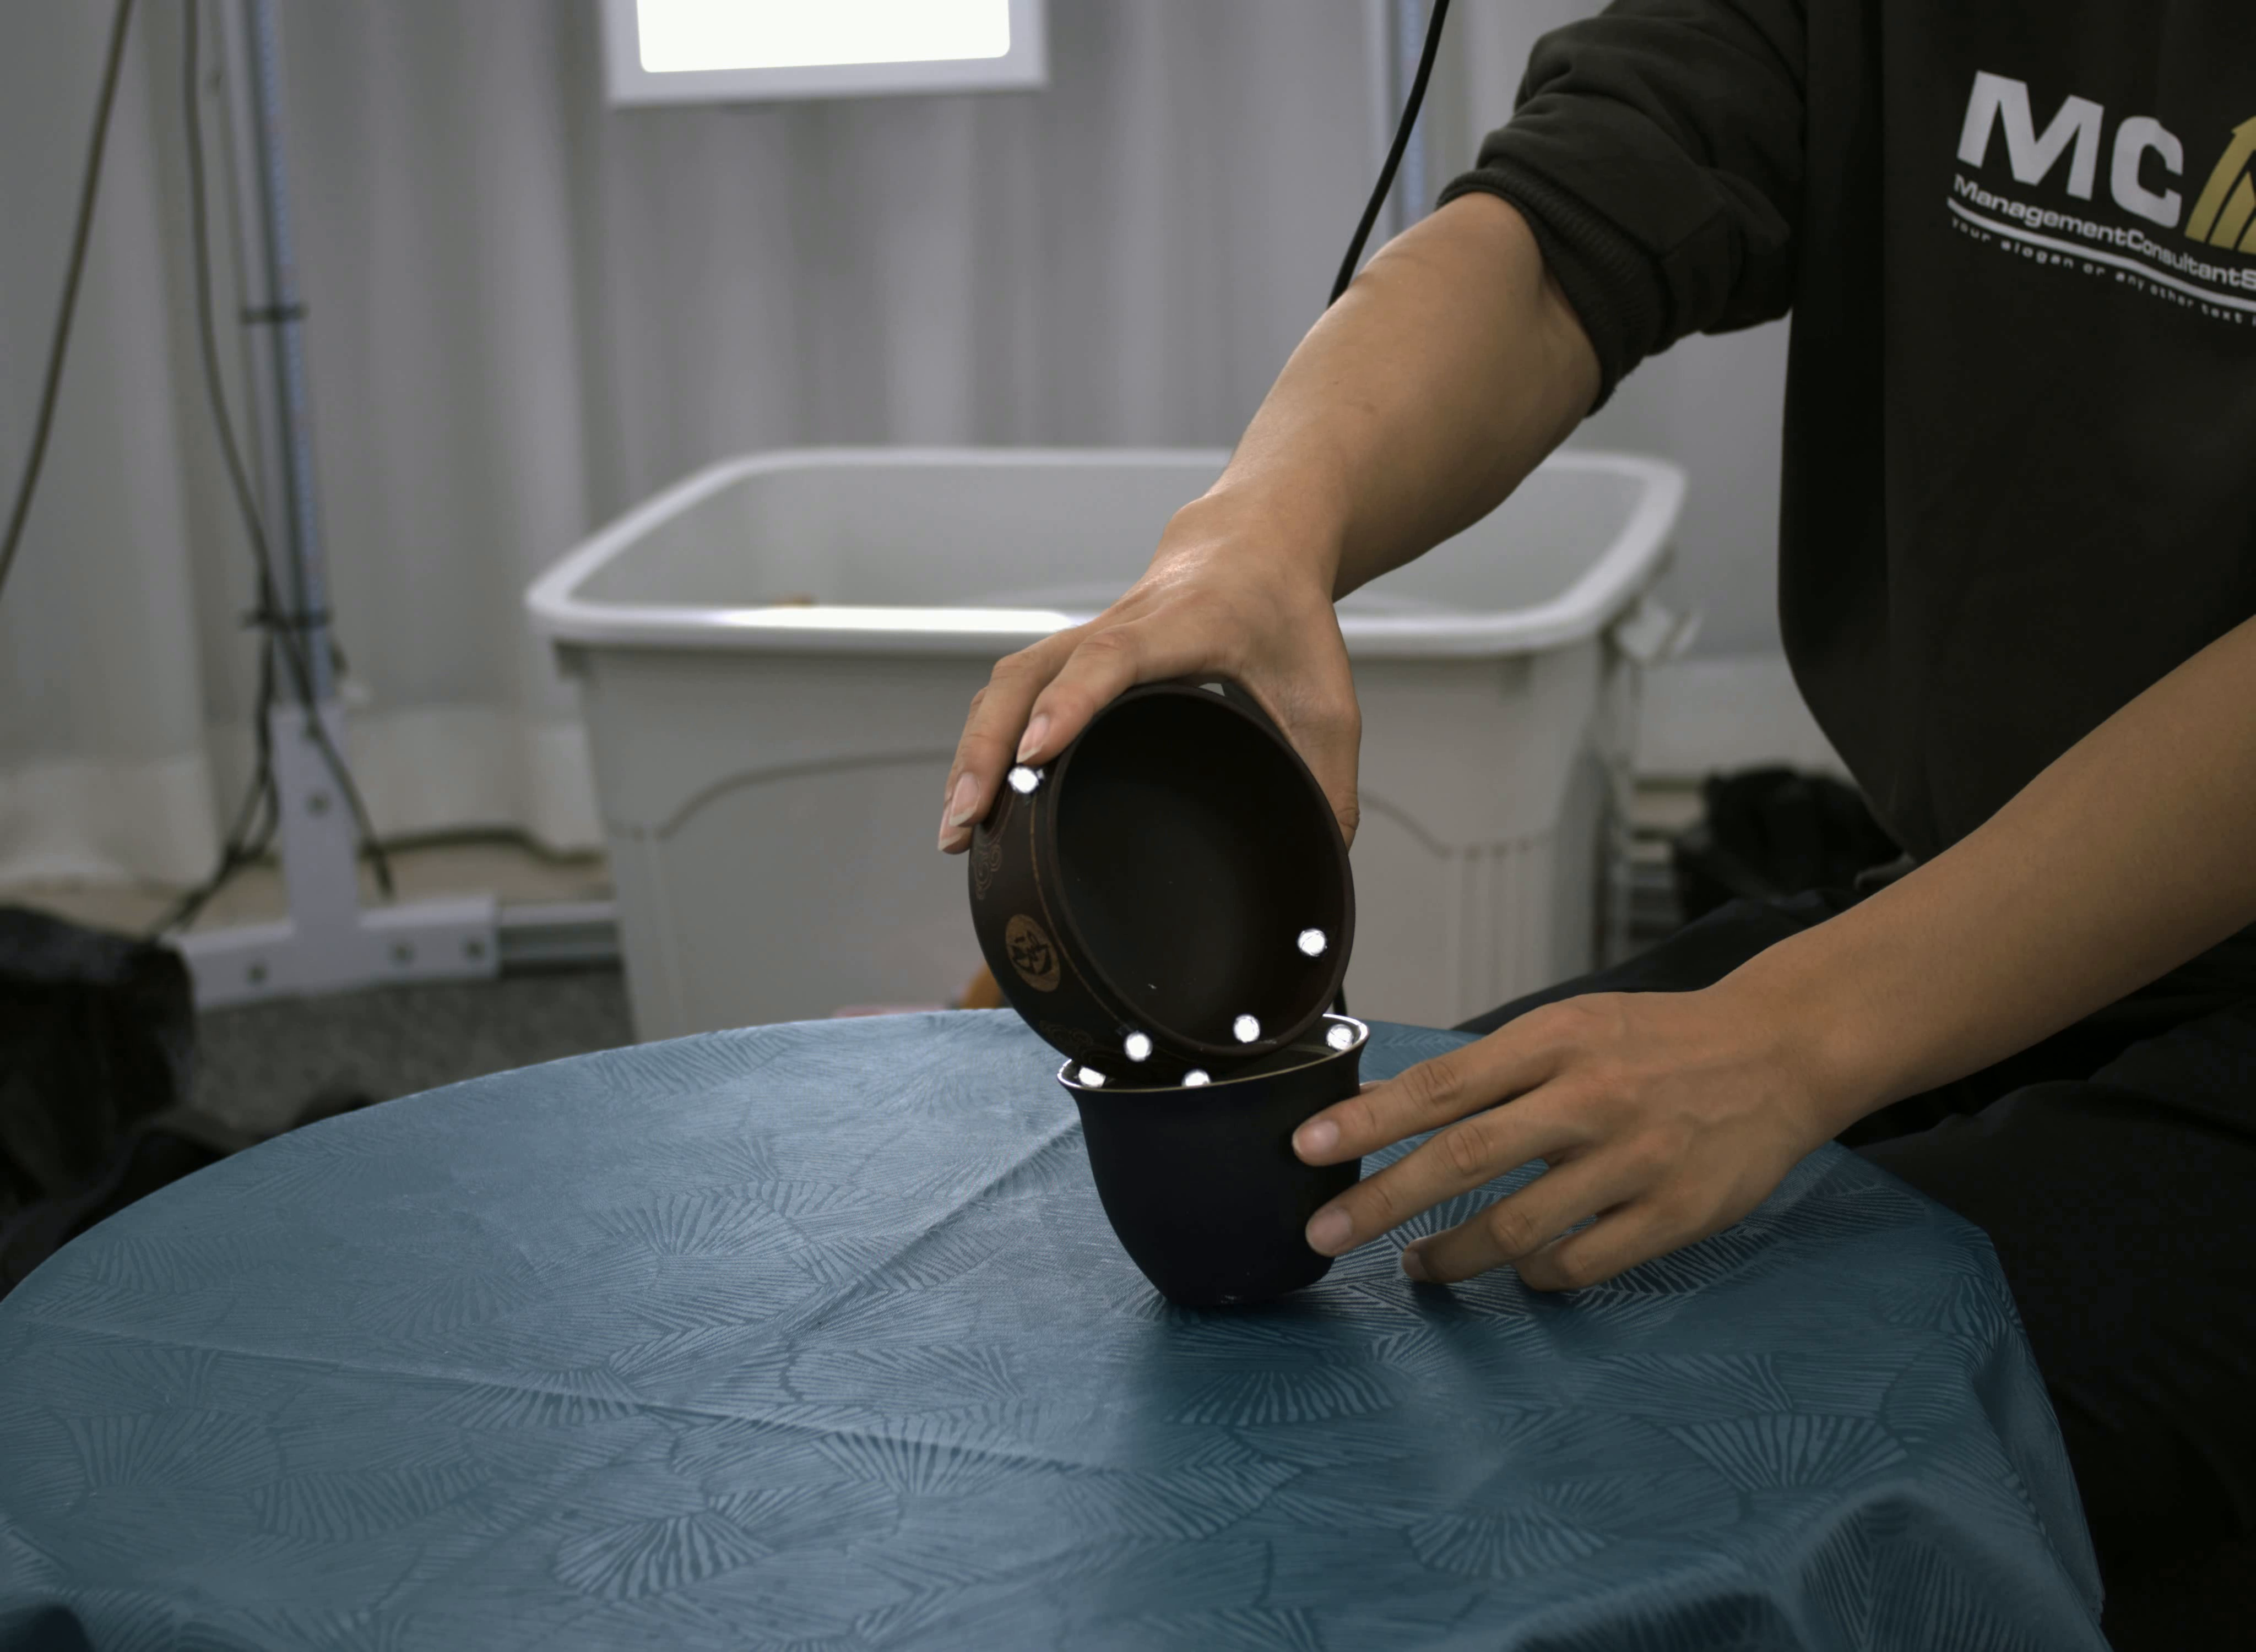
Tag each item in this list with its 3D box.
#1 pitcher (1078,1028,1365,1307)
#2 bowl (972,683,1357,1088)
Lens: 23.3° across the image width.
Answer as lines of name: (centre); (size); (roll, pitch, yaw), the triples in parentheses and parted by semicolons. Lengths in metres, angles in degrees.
pitcher: (0.029, 0.100, 1.618); (0.083, 0.071, 0.096); (-17, 10, -26)
bowl: (0.003, 0.022, 1.622); (0.118, 0.118, 0.069); (-17, -7, -44)
